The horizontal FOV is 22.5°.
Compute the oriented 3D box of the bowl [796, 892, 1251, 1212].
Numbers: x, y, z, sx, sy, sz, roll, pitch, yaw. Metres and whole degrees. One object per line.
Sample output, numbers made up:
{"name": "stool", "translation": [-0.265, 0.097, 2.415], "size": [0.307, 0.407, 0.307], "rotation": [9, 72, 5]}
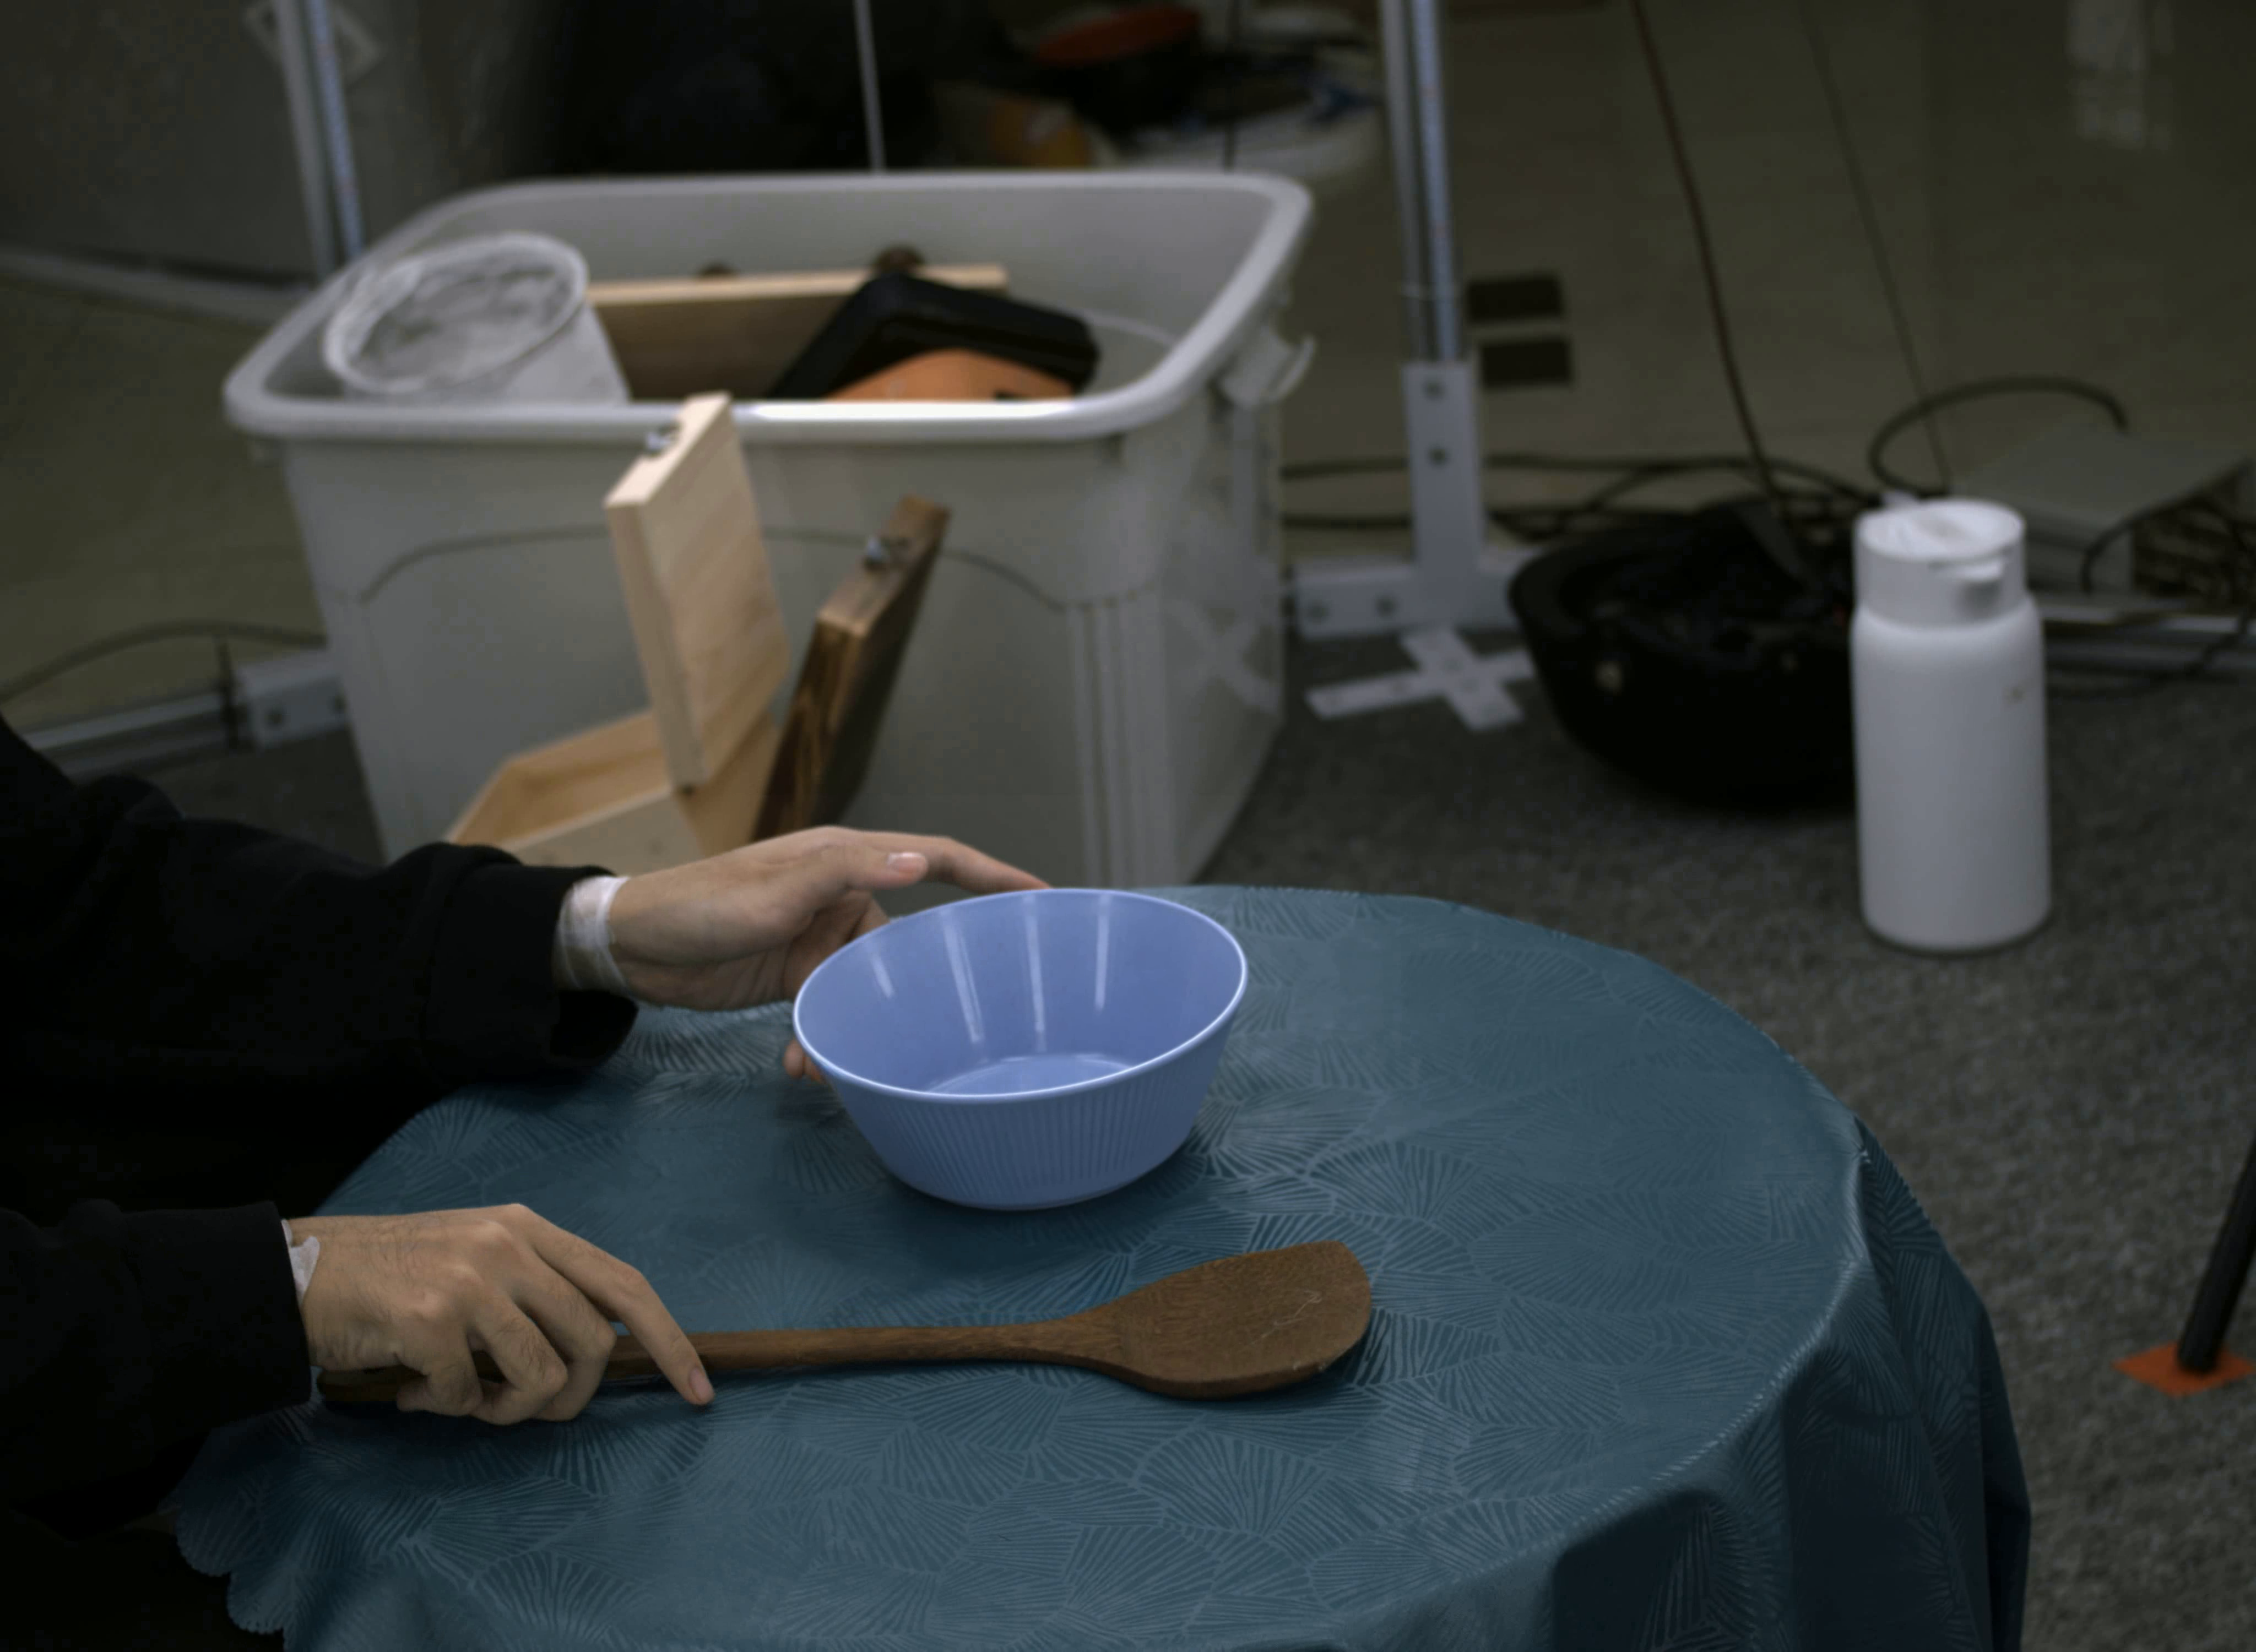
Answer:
{"name": "bowl", "translation": [-0.036, 0.093, 2.179], "size": [0.176, 0.071, 0.173], "rotation": [-7, 25, 3]}

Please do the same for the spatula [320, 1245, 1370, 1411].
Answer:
{"name": "spatula", "translation": [-0.104, 0.189, 2.053], "size": [0.385, 0.016, 0.095], "rotation": [-4, 24, 5]}
